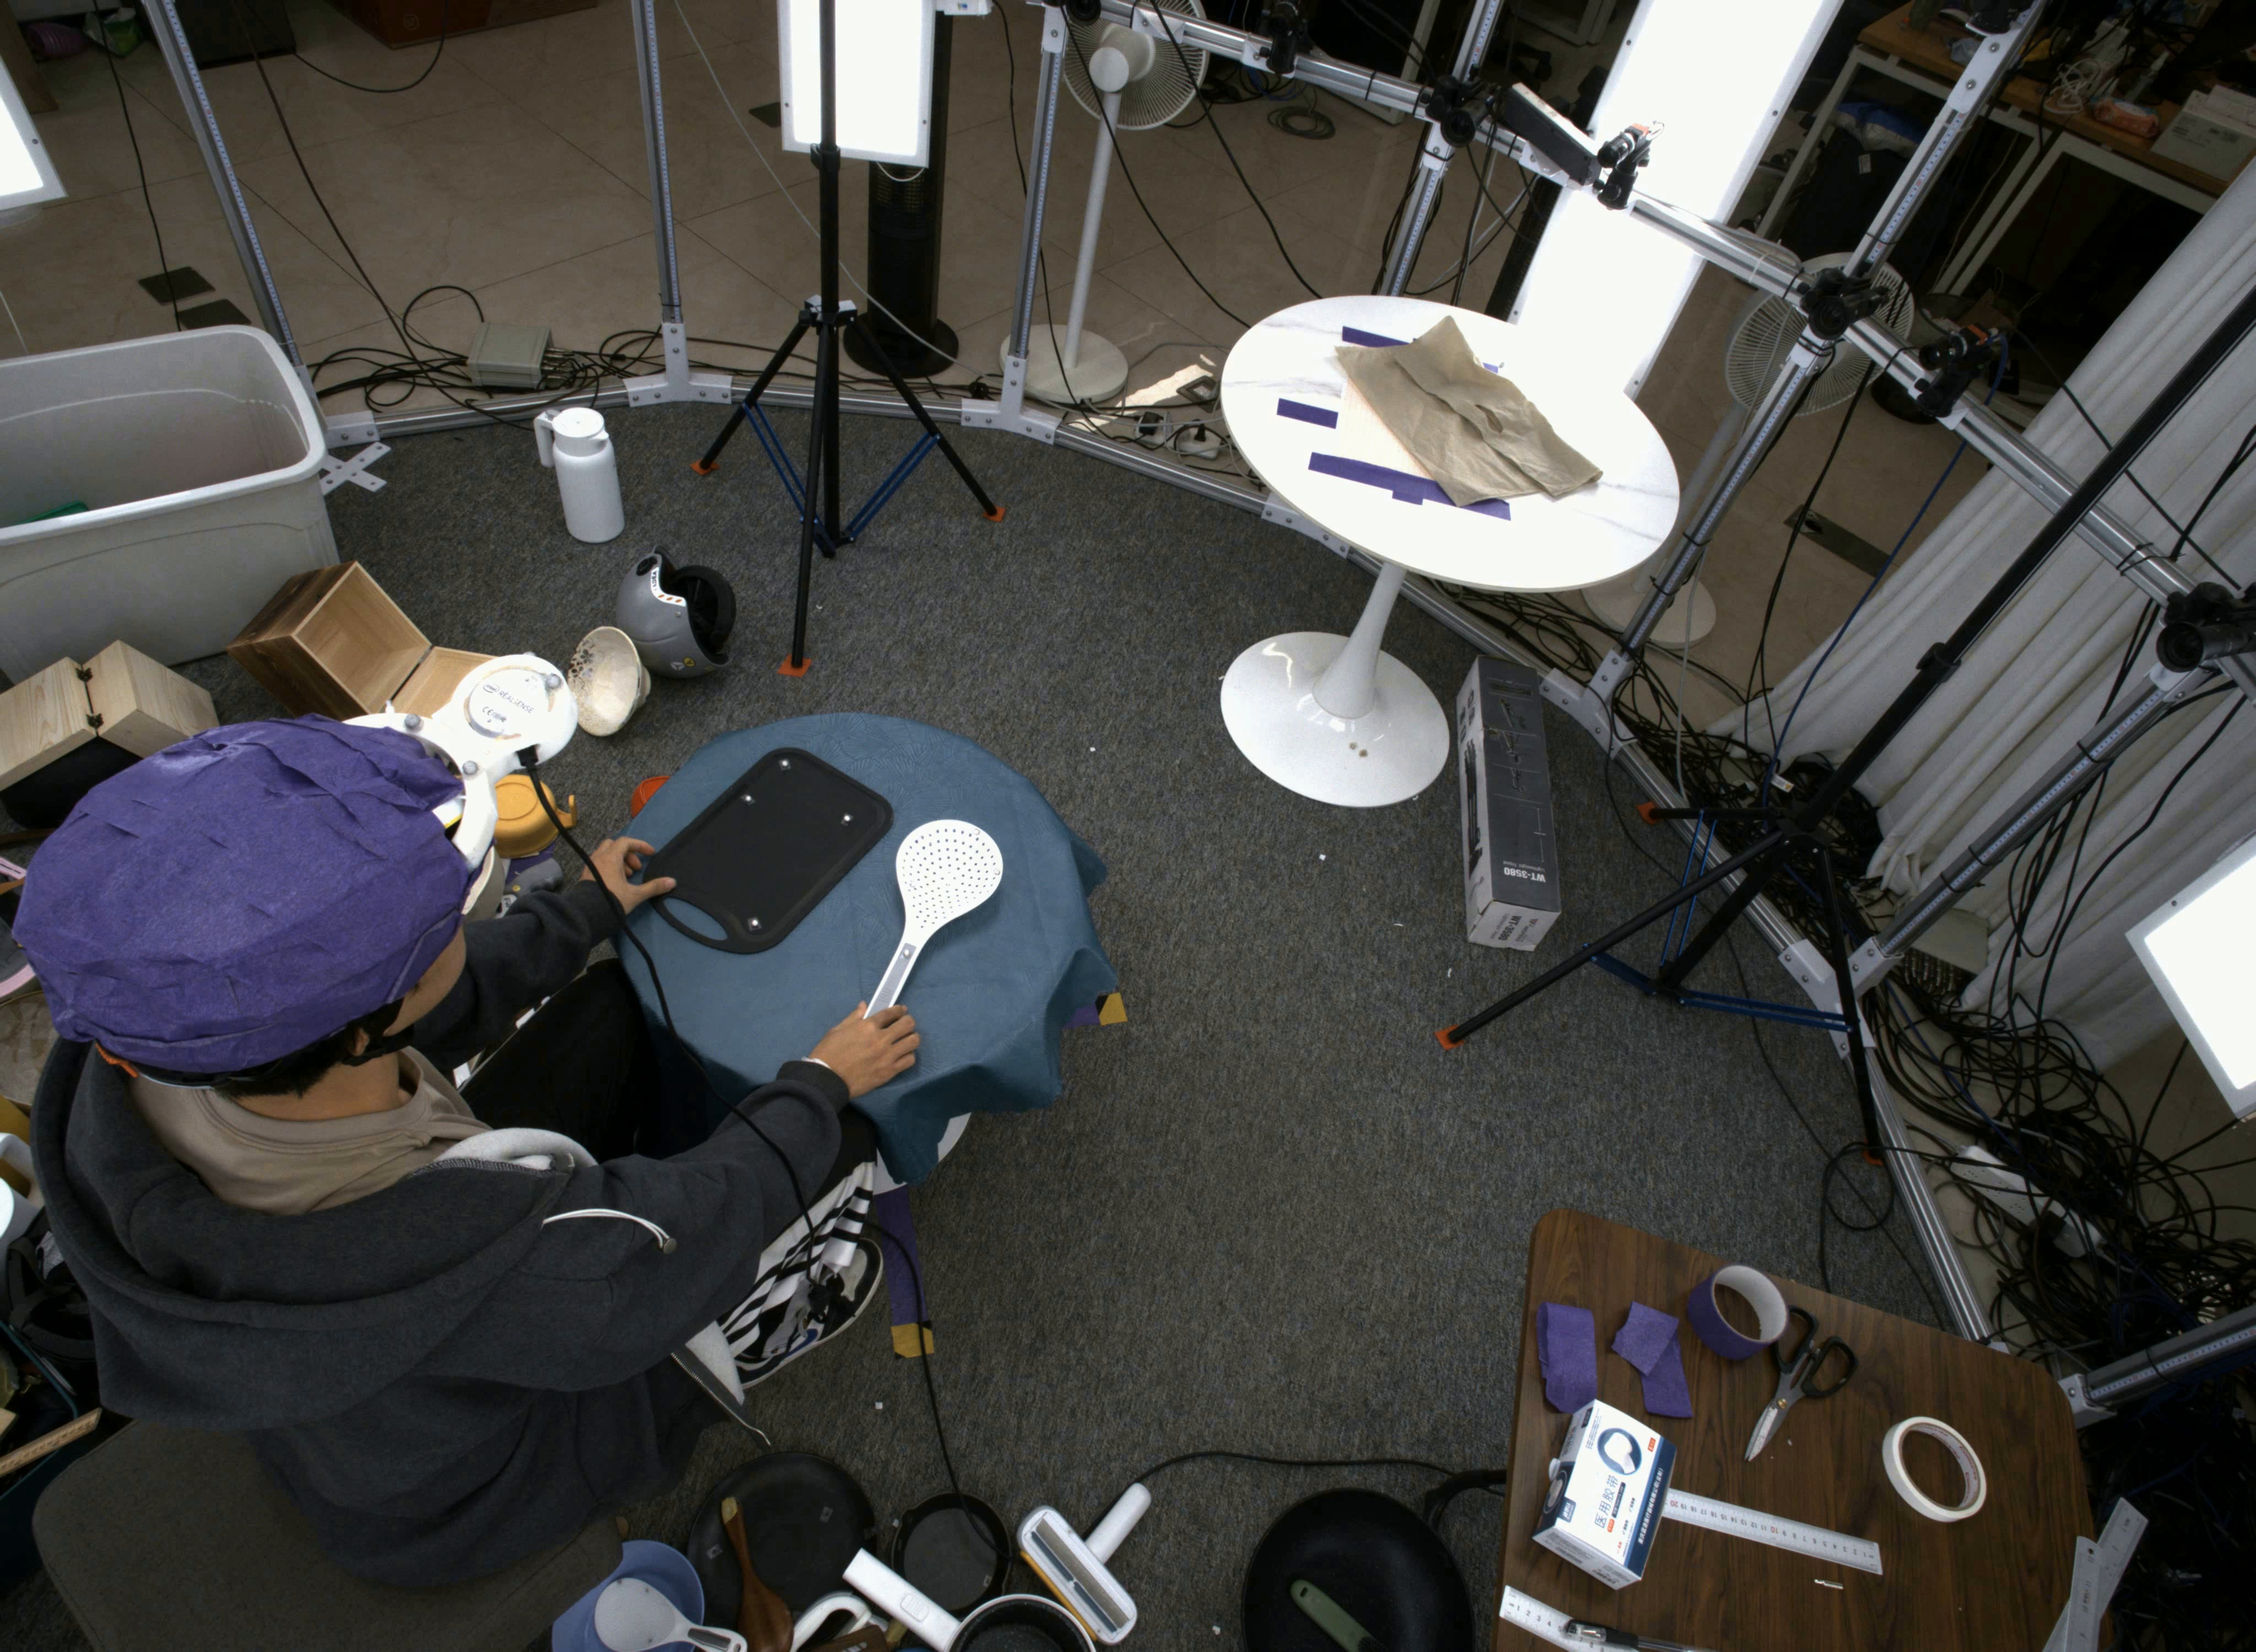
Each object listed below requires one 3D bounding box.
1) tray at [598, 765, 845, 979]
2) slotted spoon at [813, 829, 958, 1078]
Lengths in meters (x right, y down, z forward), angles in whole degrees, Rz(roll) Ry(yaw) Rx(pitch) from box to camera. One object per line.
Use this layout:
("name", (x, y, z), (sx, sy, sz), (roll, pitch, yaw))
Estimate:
("tray", (-0.525, 0.053, 1.659), (0.208, 0.010, 0.324), (29, 52, 8))
("slotted spoon", (-0.314, 0.151, 1.615), (0.135, 0.046, 0.346), (18, 53, -1))
